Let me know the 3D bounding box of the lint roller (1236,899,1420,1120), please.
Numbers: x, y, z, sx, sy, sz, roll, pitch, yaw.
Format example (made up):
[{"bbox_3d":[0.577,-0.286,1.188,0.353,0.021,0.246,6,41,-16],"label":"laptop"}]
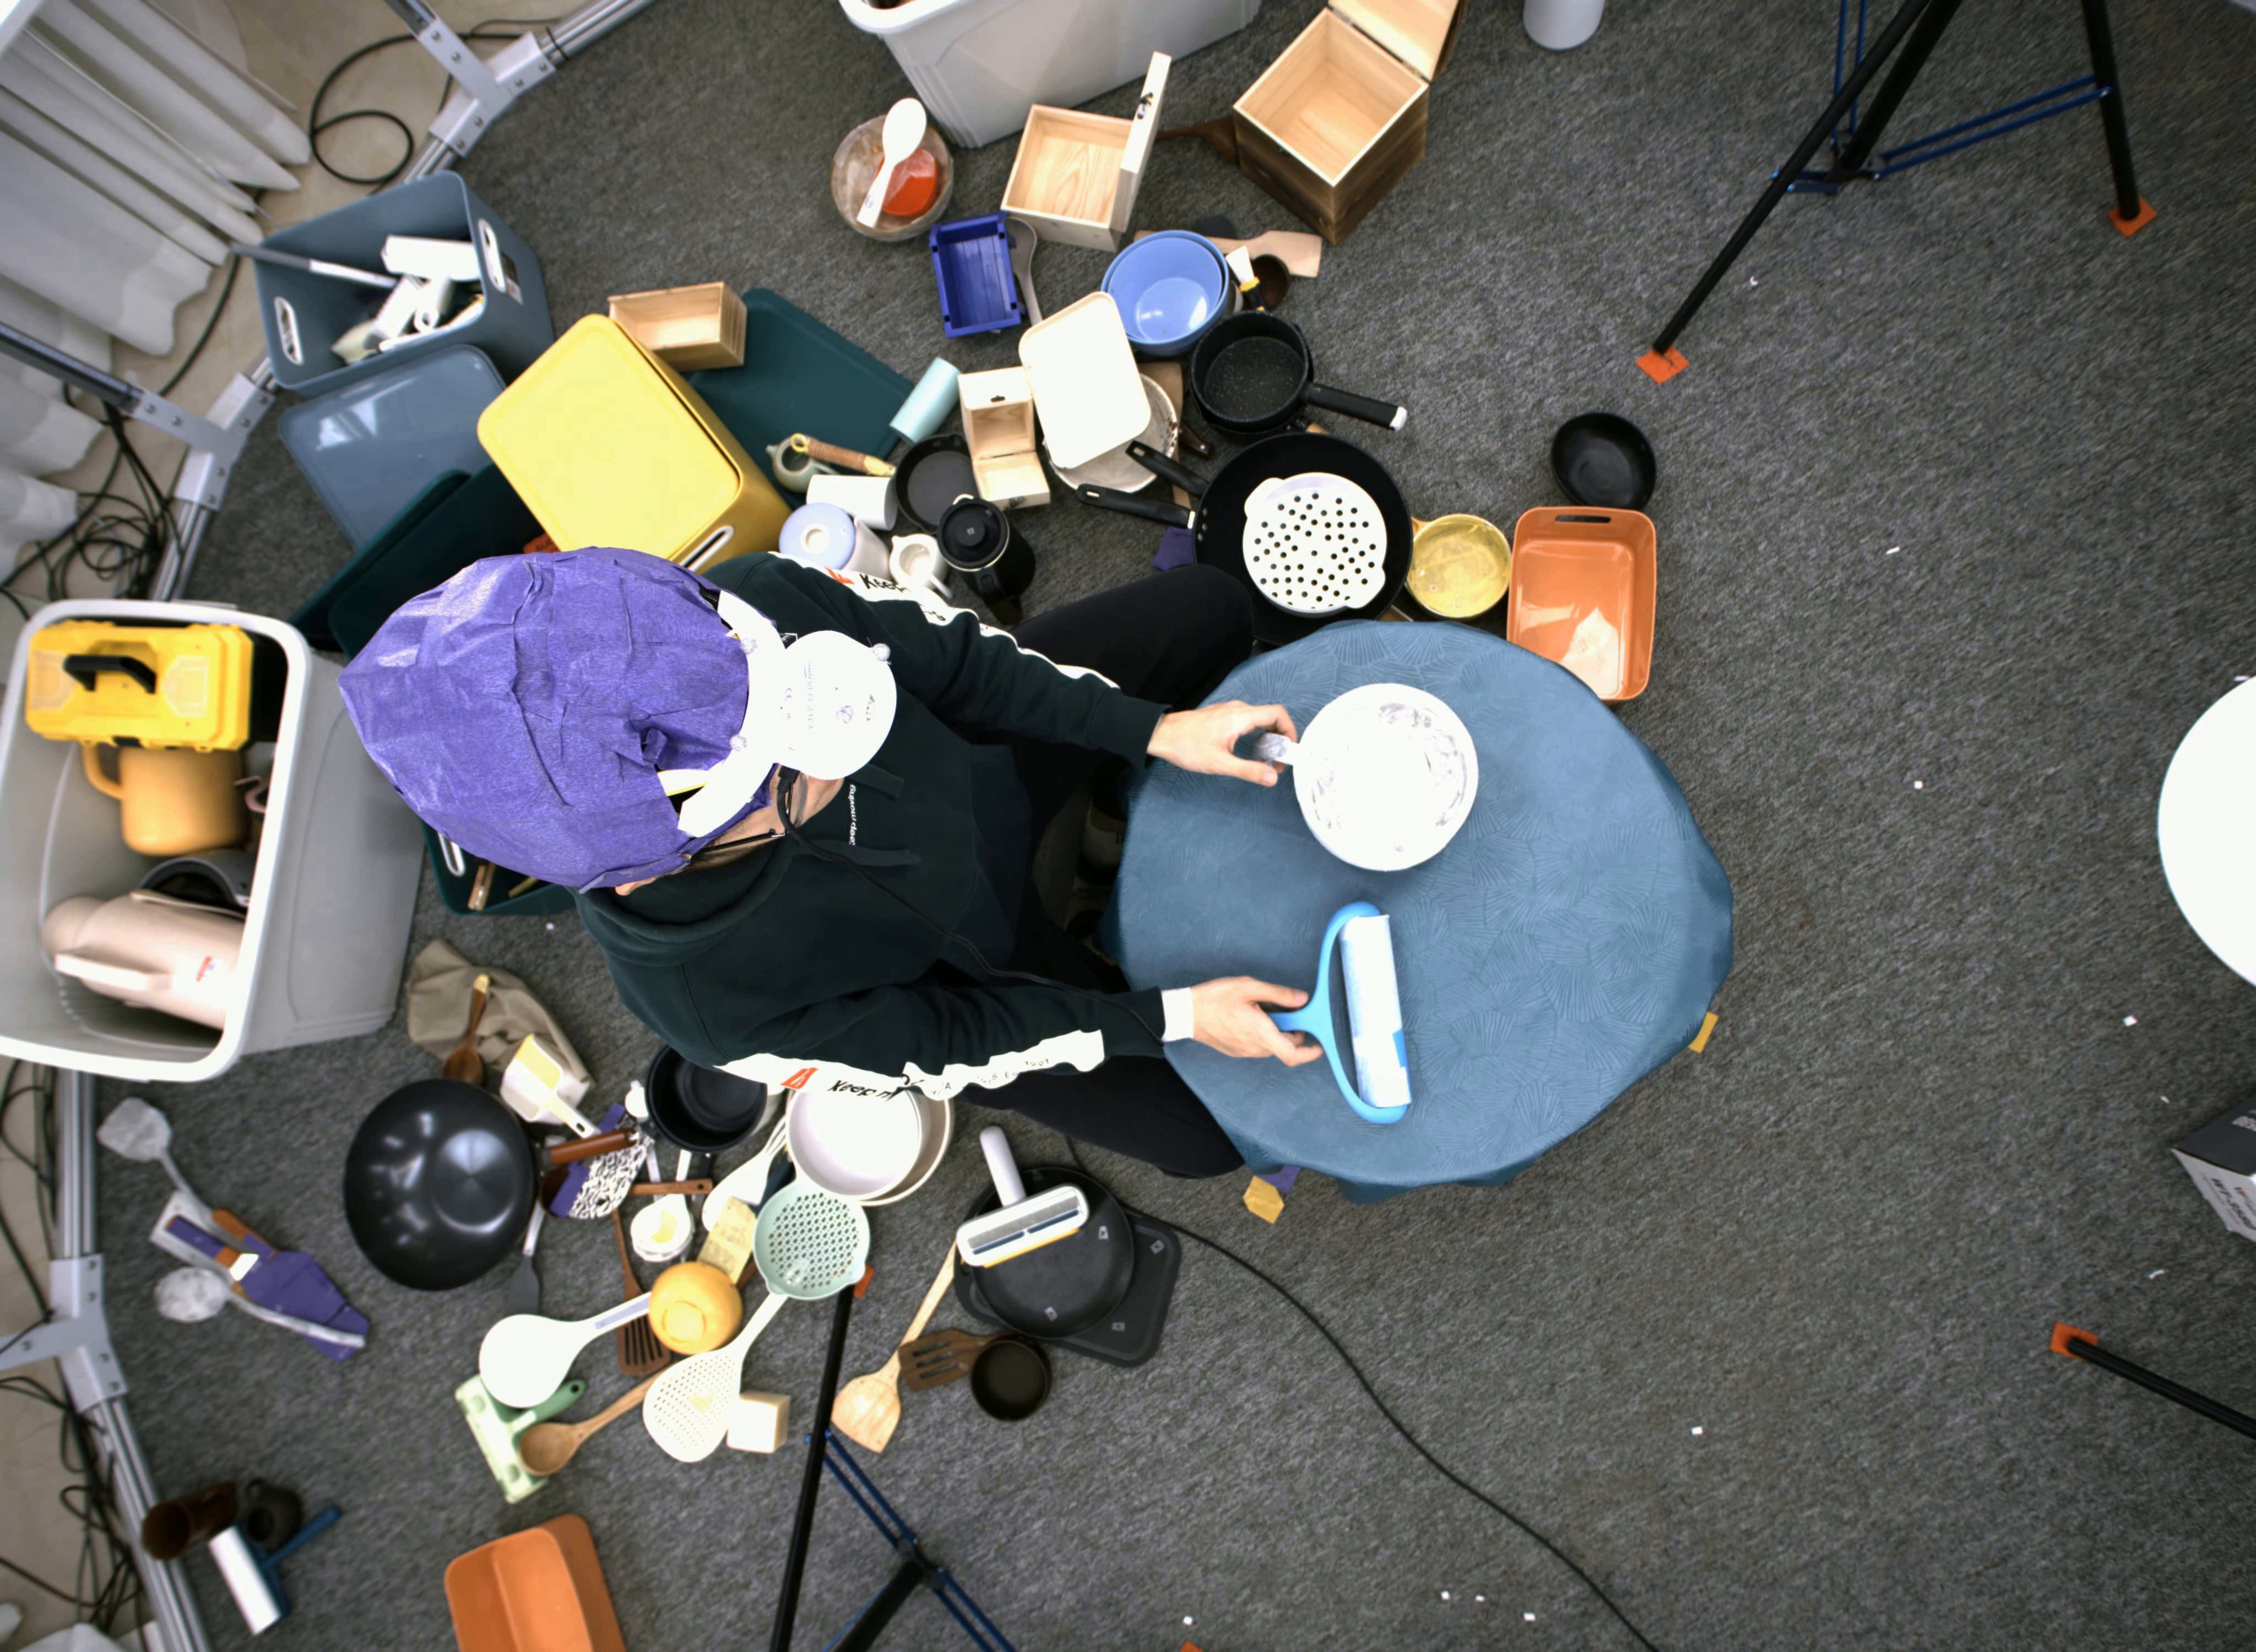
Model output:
[{"bbox_3d":[0.199,0.199,1.433,0.181,0.068,0.228,-12,87,8],"label":"lint roller"}]

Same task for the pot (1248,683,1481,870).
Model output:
[{"bbox_3d":[0.233,-0.054,1.397,0.234,0.137,0.178,15,89,9],"label":"pot"}]
